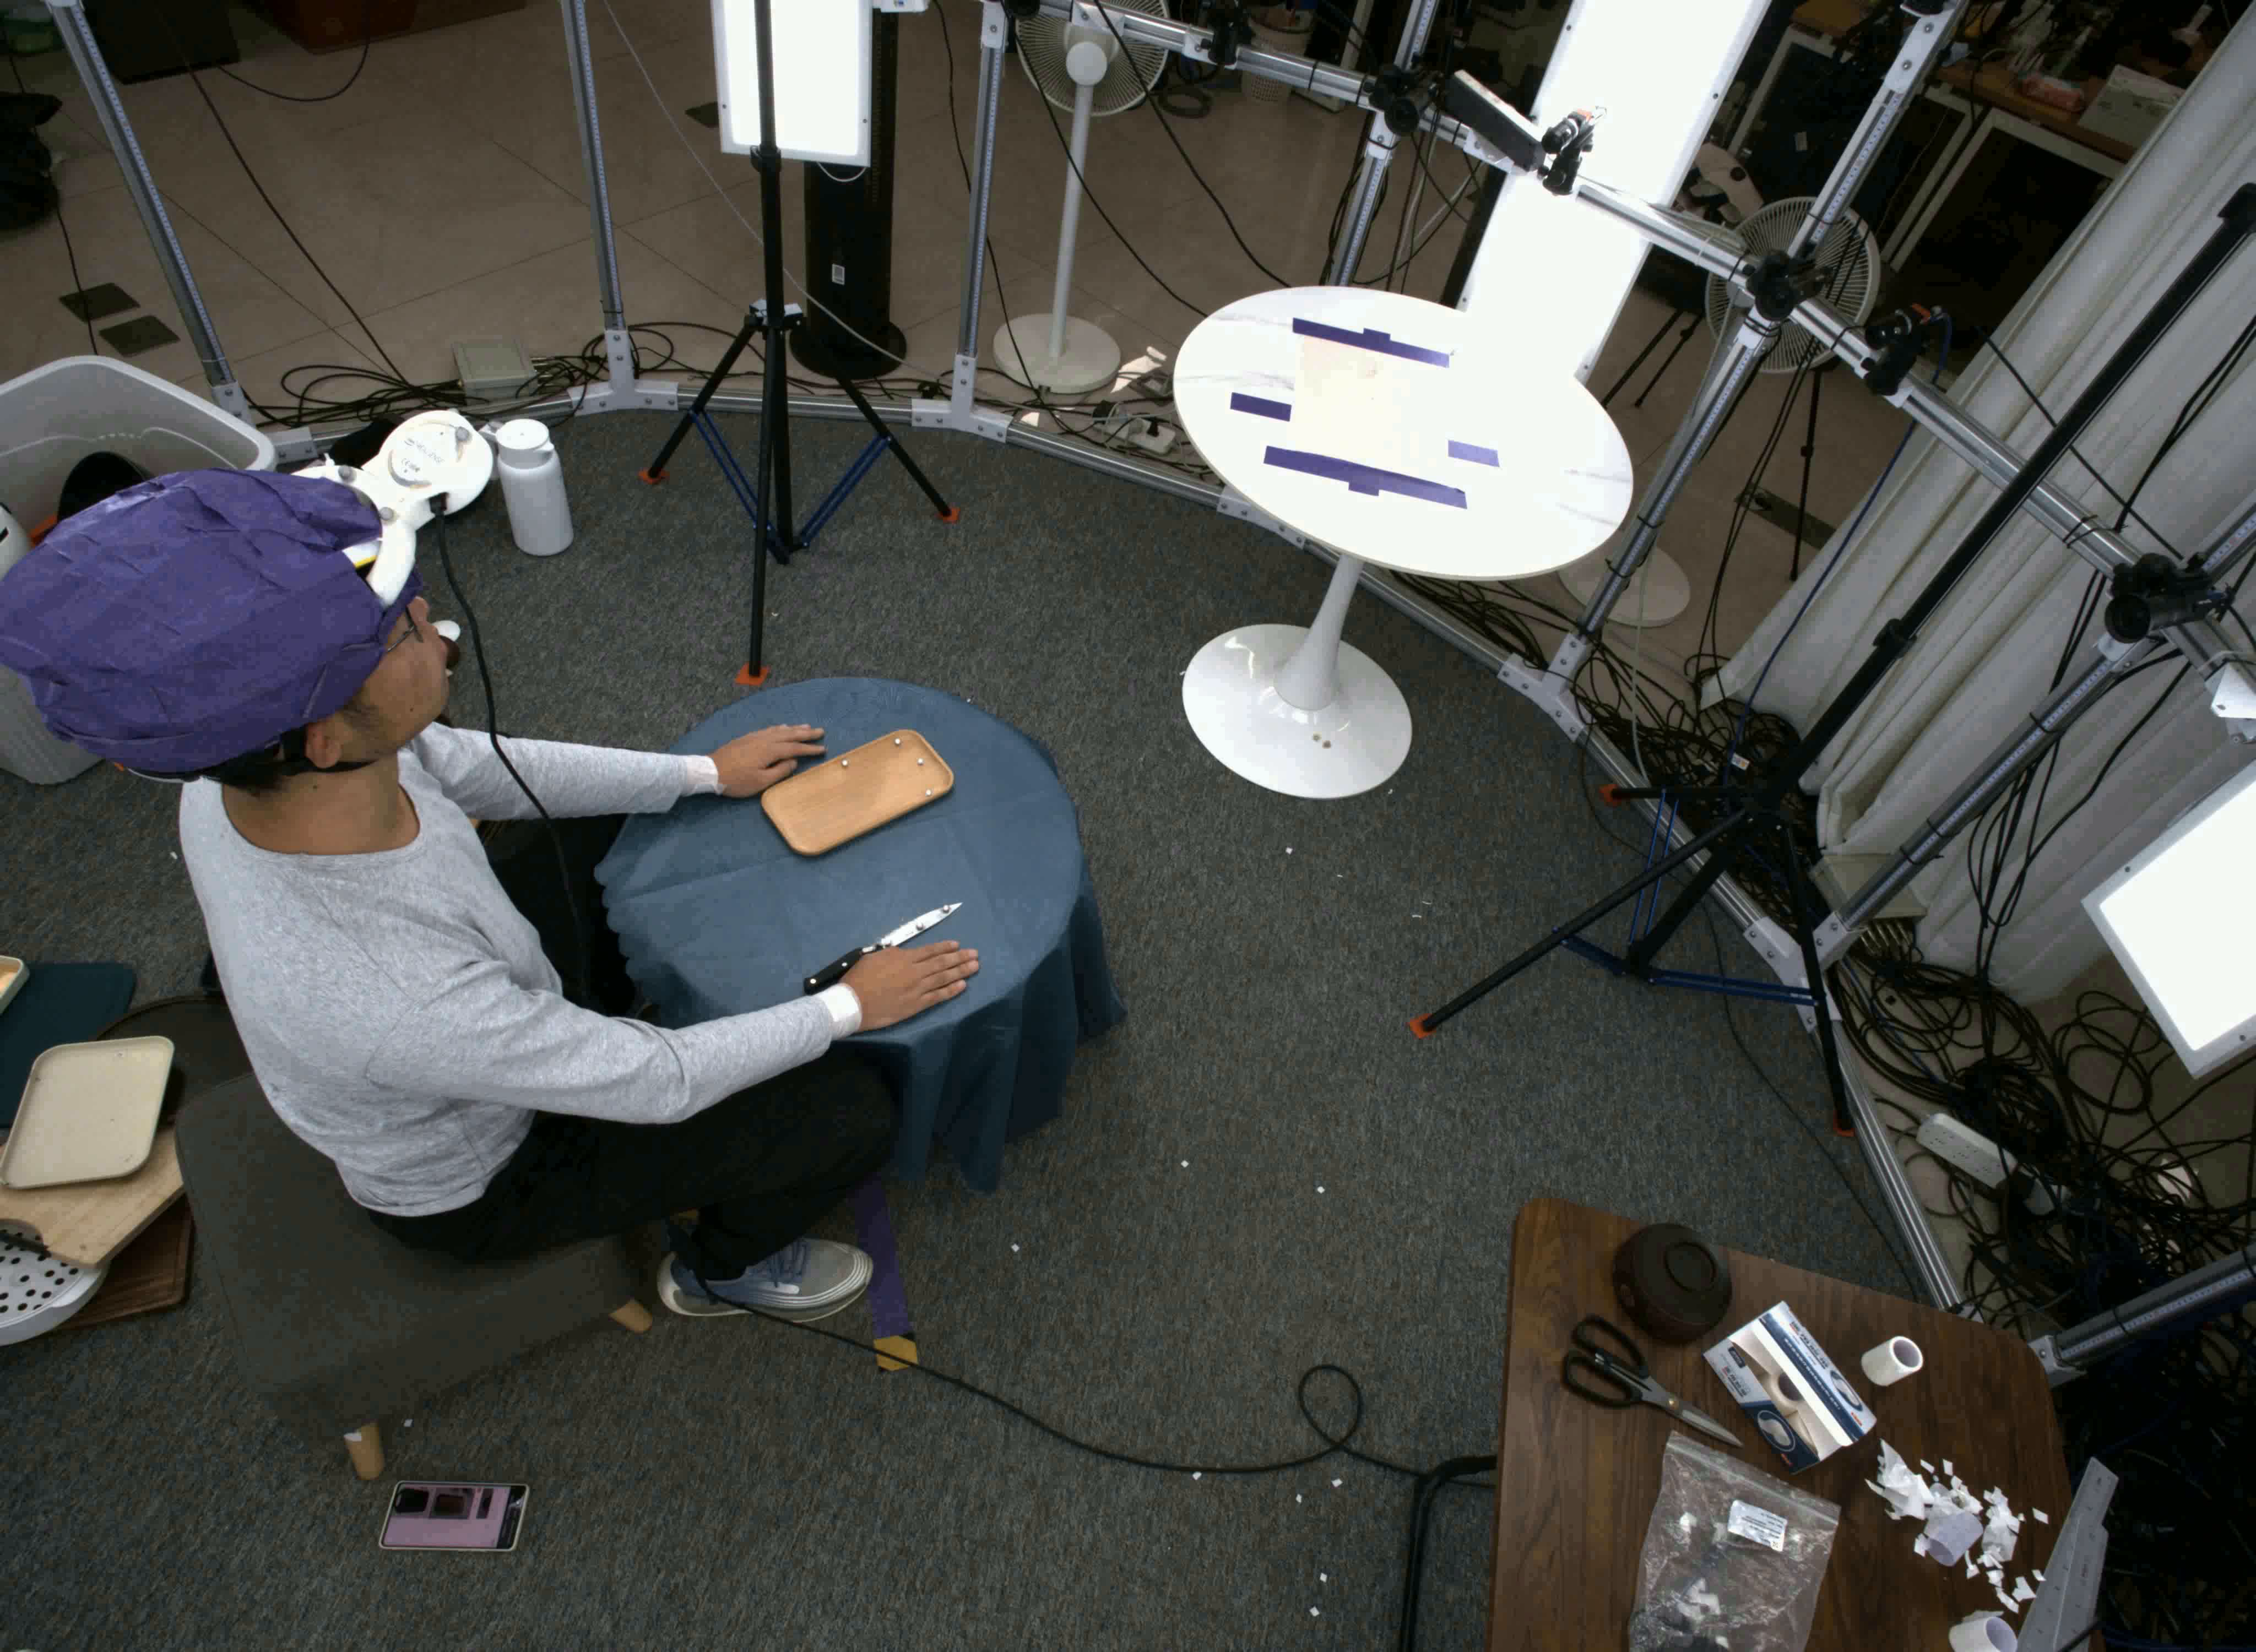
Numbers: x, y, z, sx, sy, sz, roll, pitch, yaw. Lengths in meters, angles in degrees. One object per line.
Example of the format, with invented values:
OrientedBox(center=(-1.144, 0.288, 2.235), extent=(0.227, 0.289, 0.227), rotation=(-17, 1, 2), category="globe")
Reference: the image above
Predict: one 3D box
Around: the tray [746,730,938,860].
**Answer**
OrientedBox(center=(-0.387, -0.045, 1.768), extent=(0.251, 0.023, 0.127), rotation=(-29, 63, -29), category="tray")

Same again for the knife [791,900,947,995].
OrientedBox(center=(-0.321, 0.149, 1.644), extent=(0.239, 0.016, 0.024), rotation=(-31, 65, -34), category="knife")
